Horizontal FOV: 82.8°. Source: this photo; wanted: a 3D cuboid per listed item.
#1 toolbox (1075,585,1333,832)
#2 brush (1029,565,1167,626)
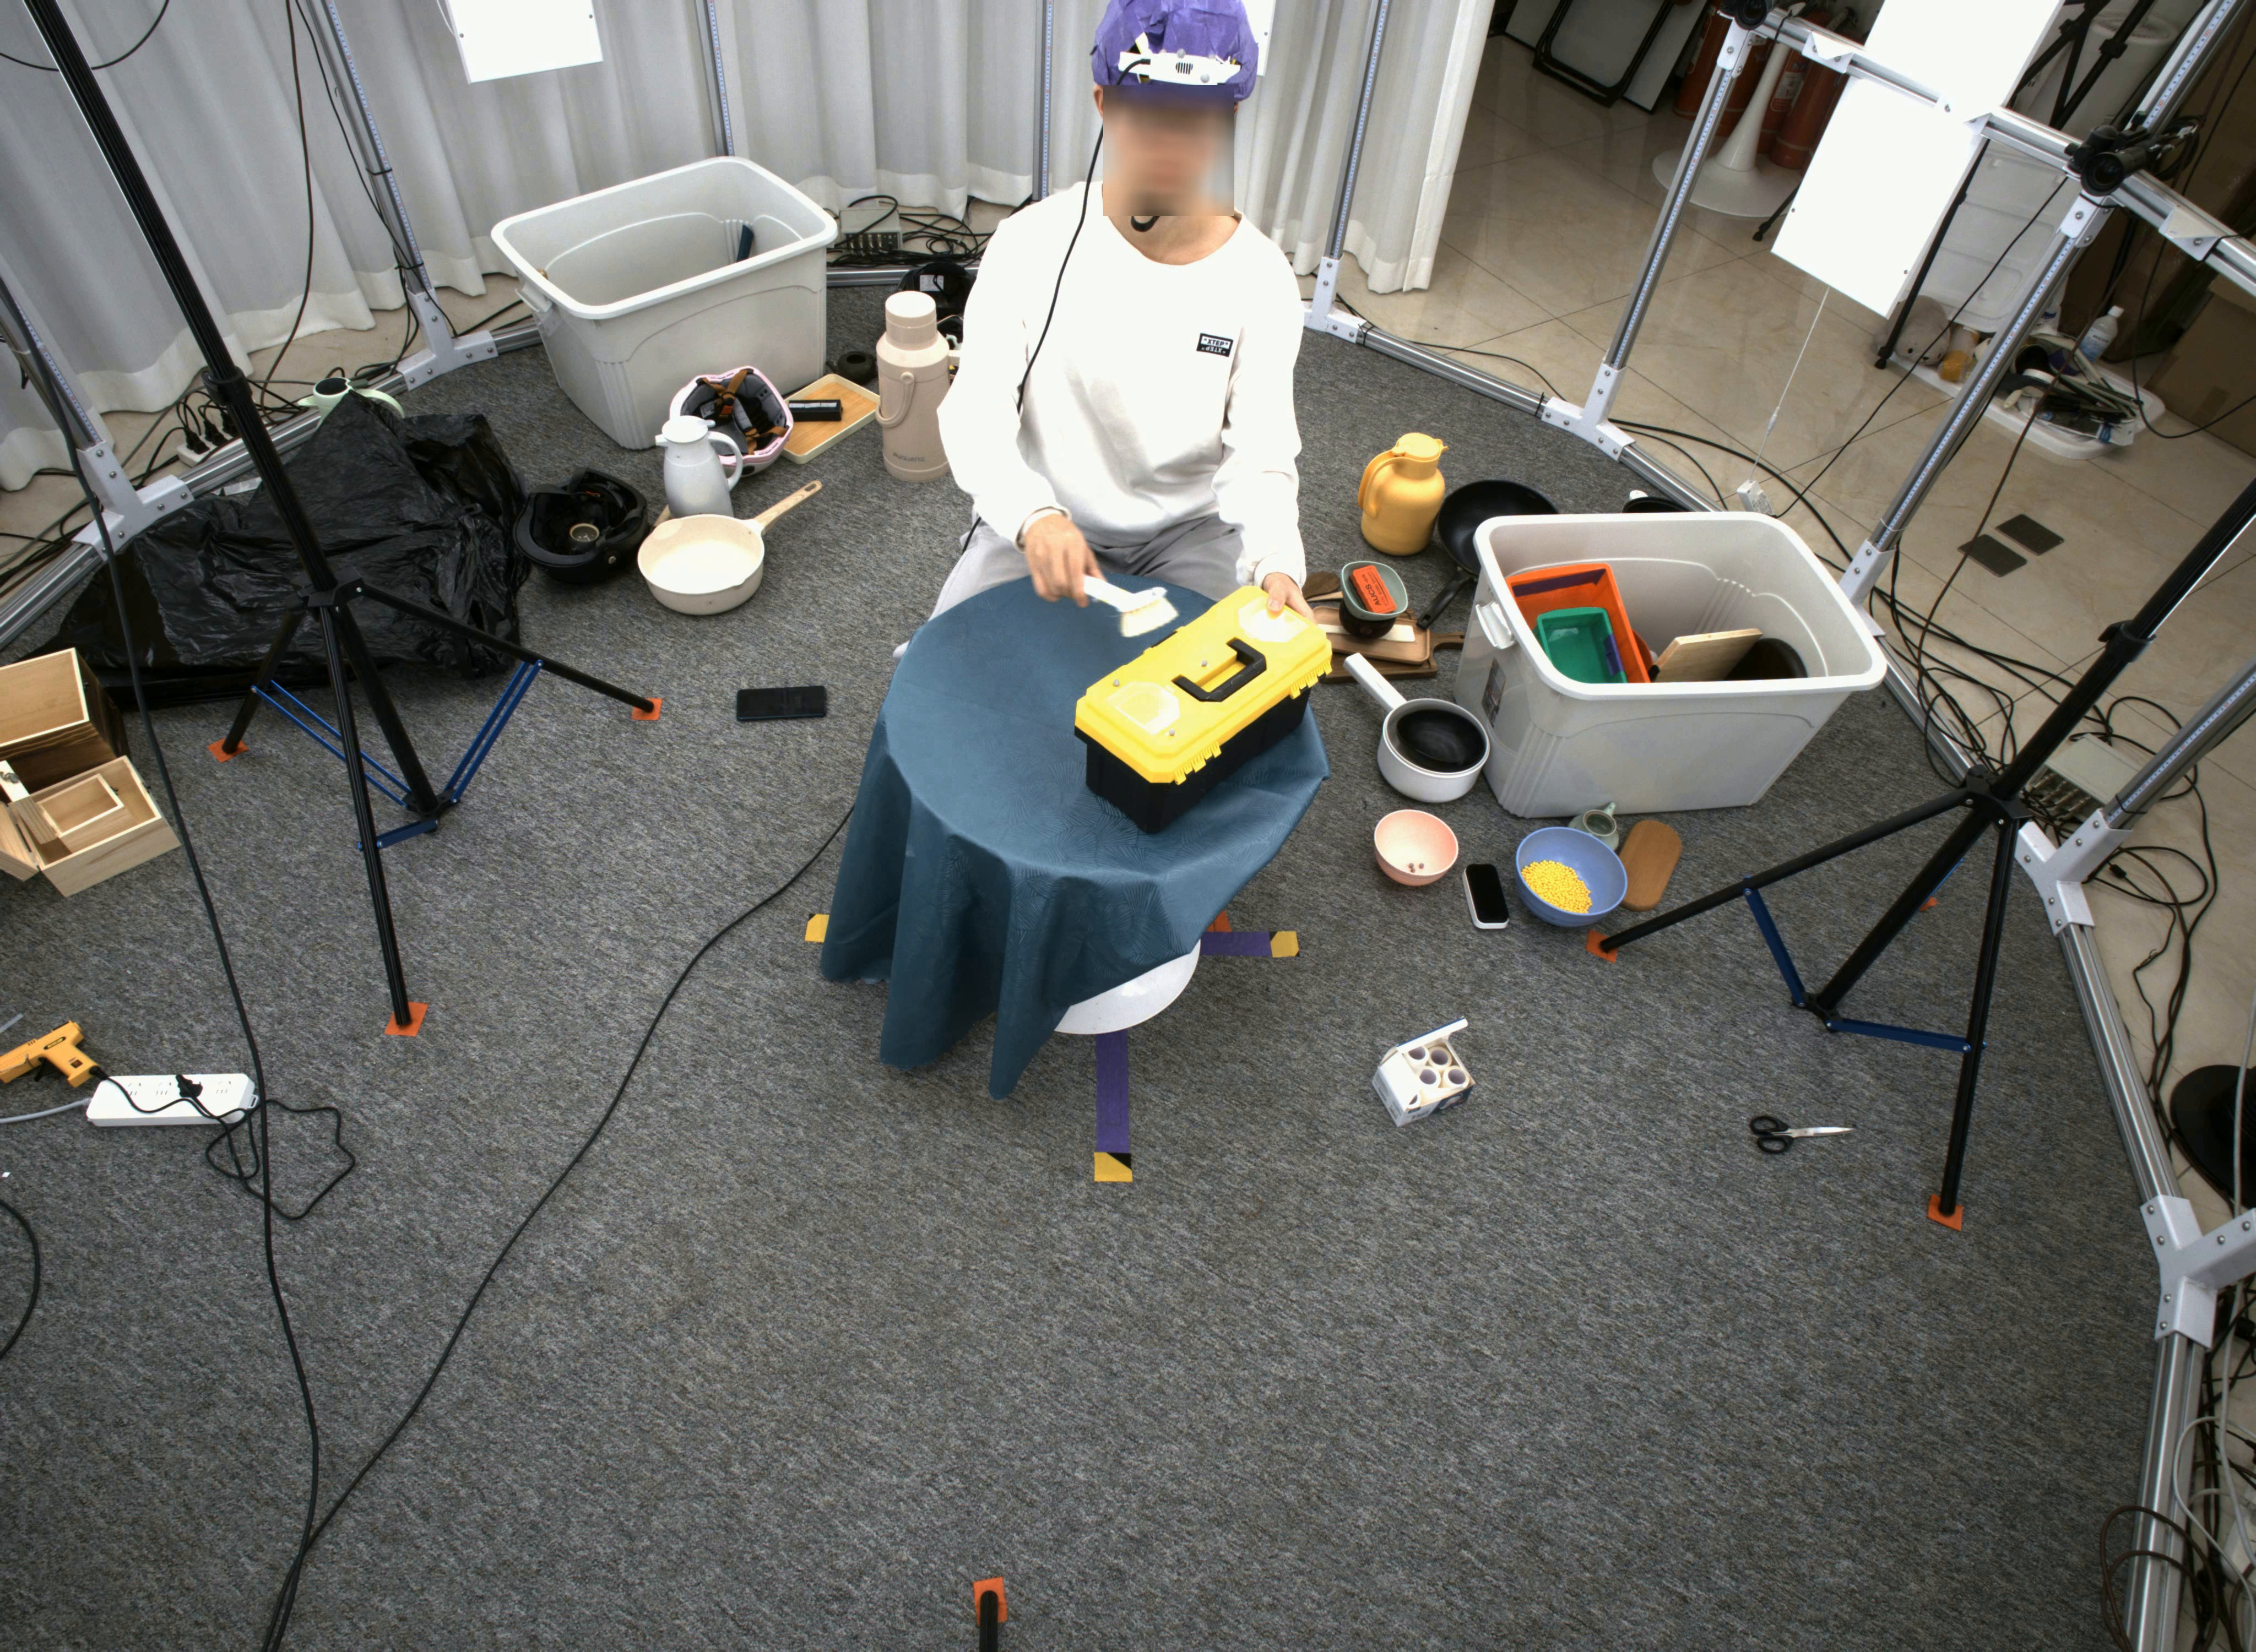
[{"bbox_3d":[0.098,-0.157,1.696,0.184,0.169,0.355,39,56,24],"label":"toolbox"},{"bbox_3d":[-0.045,-0.295,1.642,0.068,0.055,0.270,-17,23,-32],"label":"brush"}]
